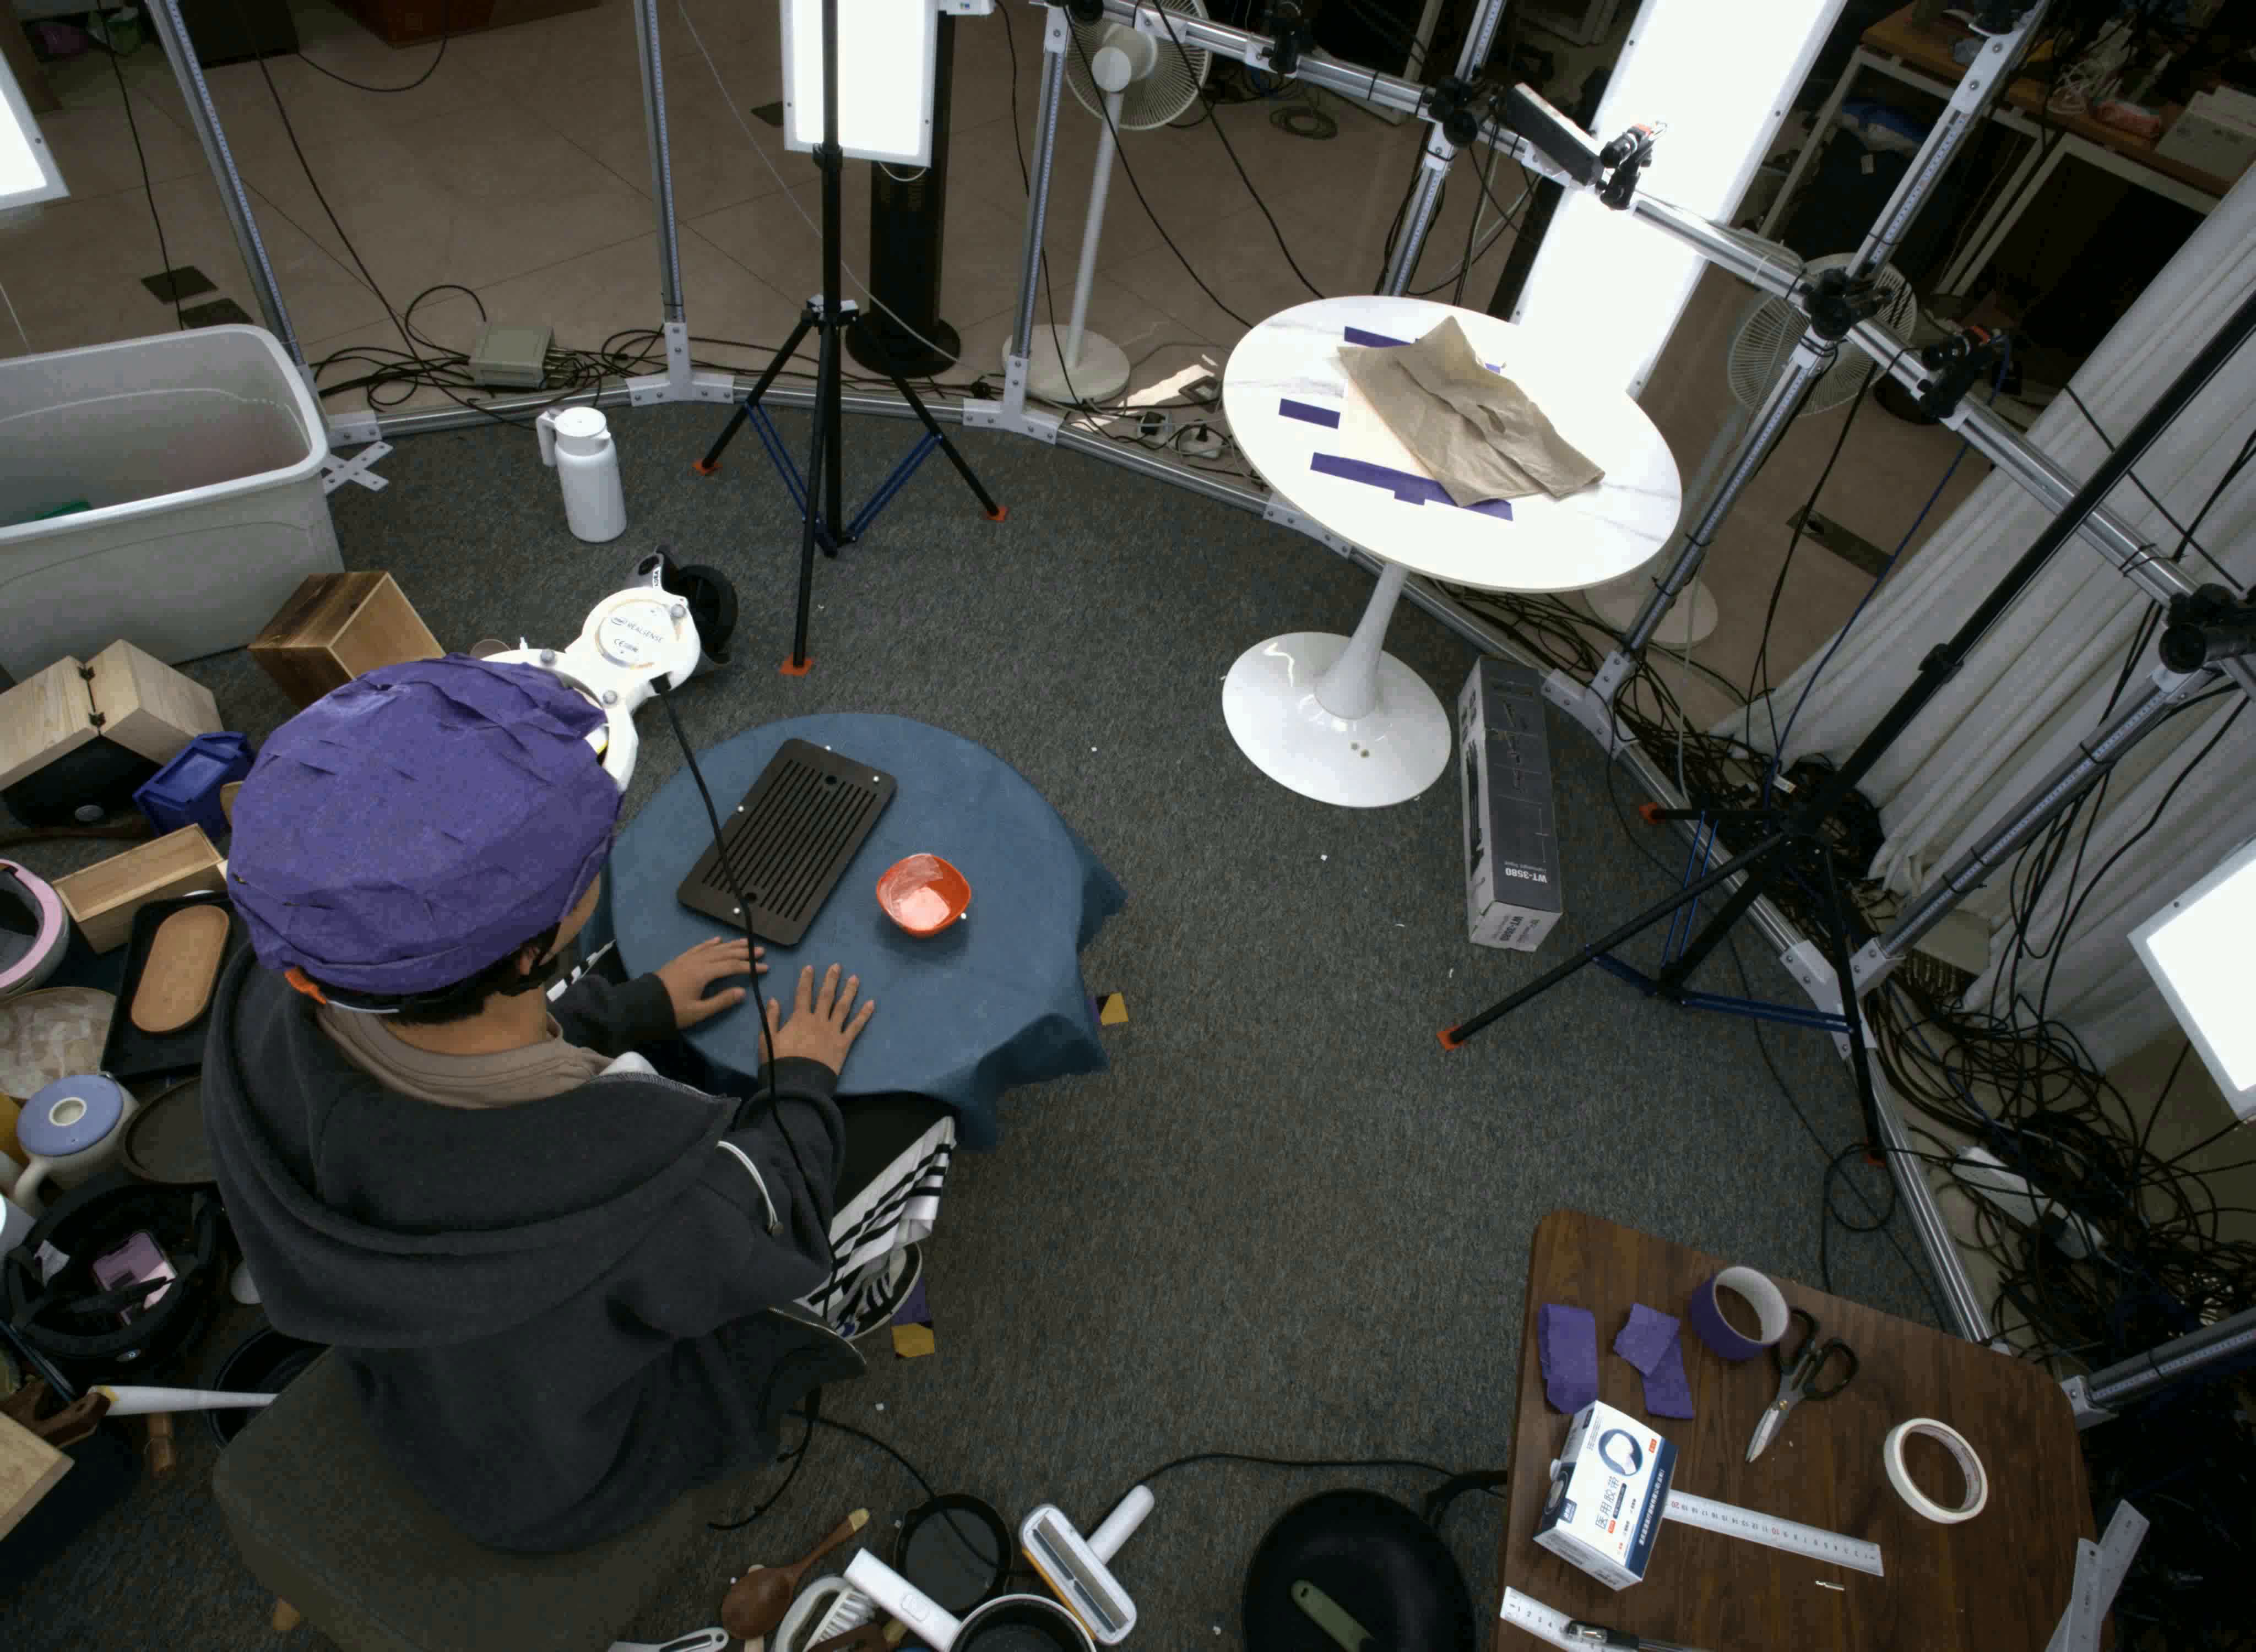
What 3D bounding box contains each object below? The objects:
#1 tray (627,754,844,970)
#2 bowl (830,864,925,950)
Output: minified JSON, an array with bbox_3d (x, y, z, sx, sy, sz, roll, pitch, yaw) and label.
[{"bbox_3d":[-0.502,0.039,1.668,0.168,0.019,0.303,20,52,0],"label":"tray"},{"bbox_3d":[-0.316,0.109,1.640,0.119,0.052,0.117,8,52,-9],"label":"bowl"}]
